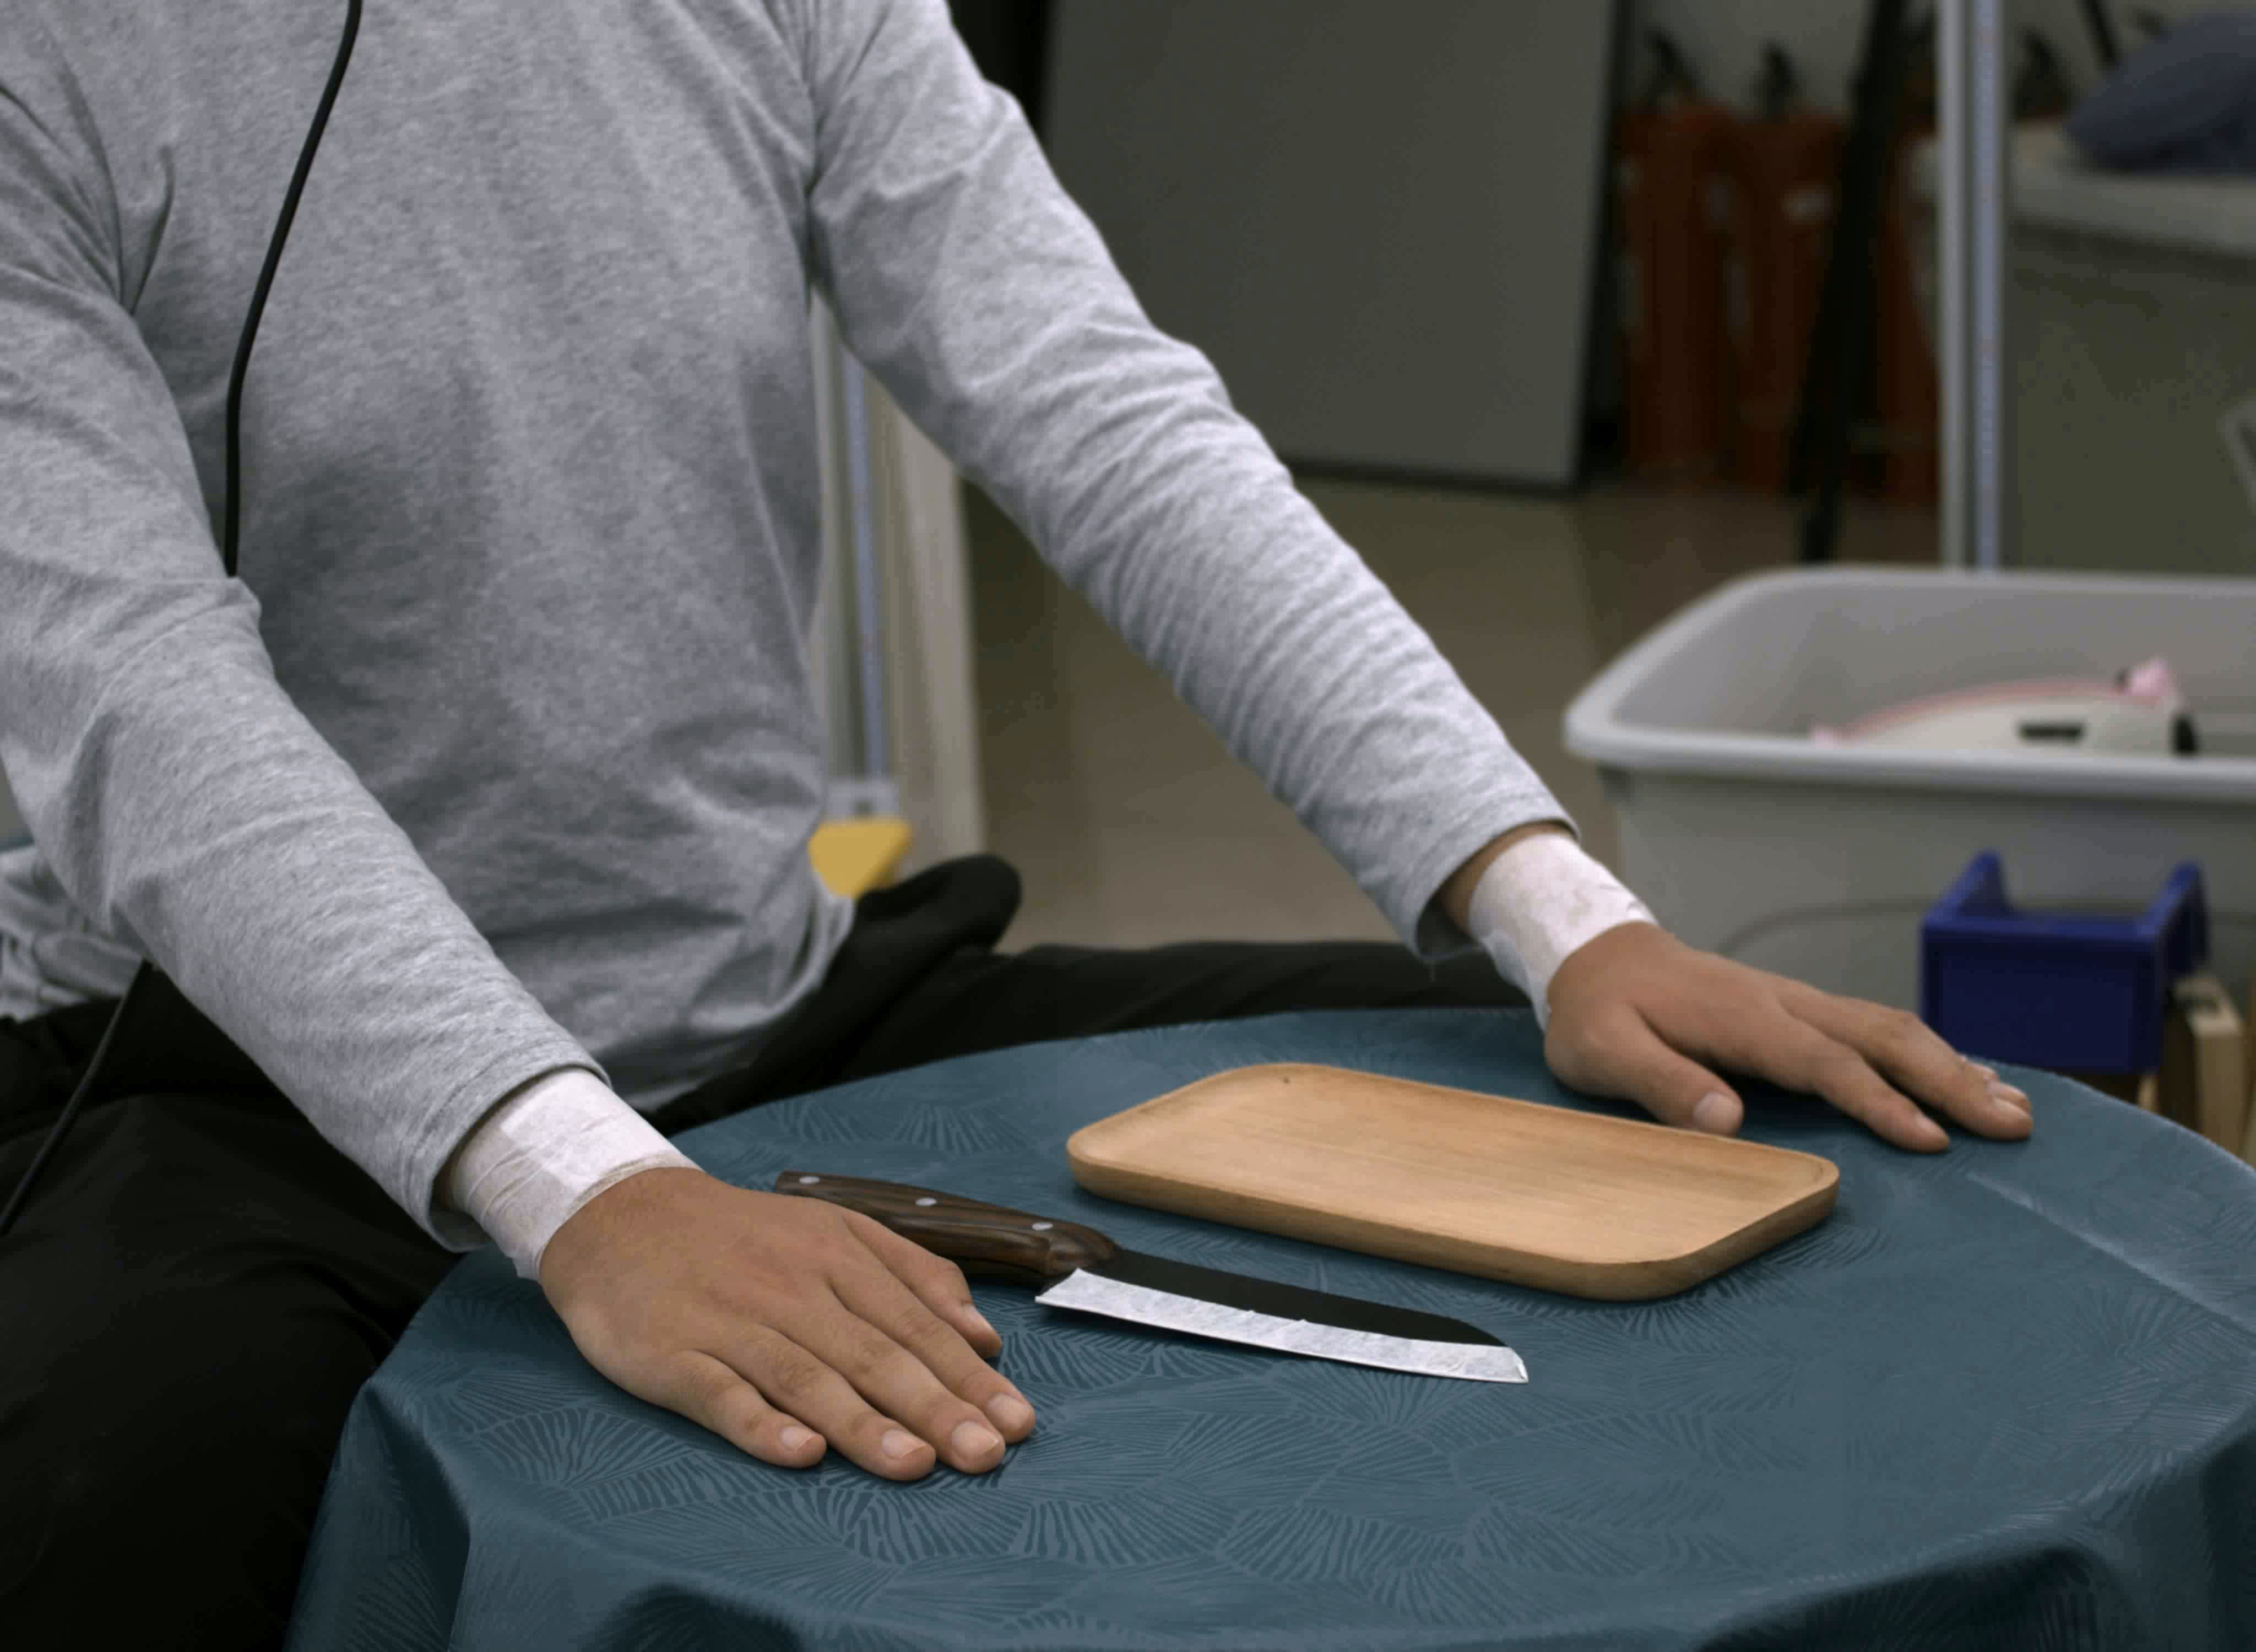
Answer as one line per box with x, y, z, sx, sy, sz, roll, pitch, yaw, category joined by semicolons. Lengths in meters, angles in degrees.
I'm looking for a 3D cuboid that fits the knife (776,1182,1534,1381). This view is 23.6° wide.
0.003;0.142;1.658;0.291;0.020;0.049;9;24;36;knife

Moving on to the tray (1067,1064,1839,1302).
0.103;0.114;1.742;0.253;0.023;0.128;7;15;42;tray
